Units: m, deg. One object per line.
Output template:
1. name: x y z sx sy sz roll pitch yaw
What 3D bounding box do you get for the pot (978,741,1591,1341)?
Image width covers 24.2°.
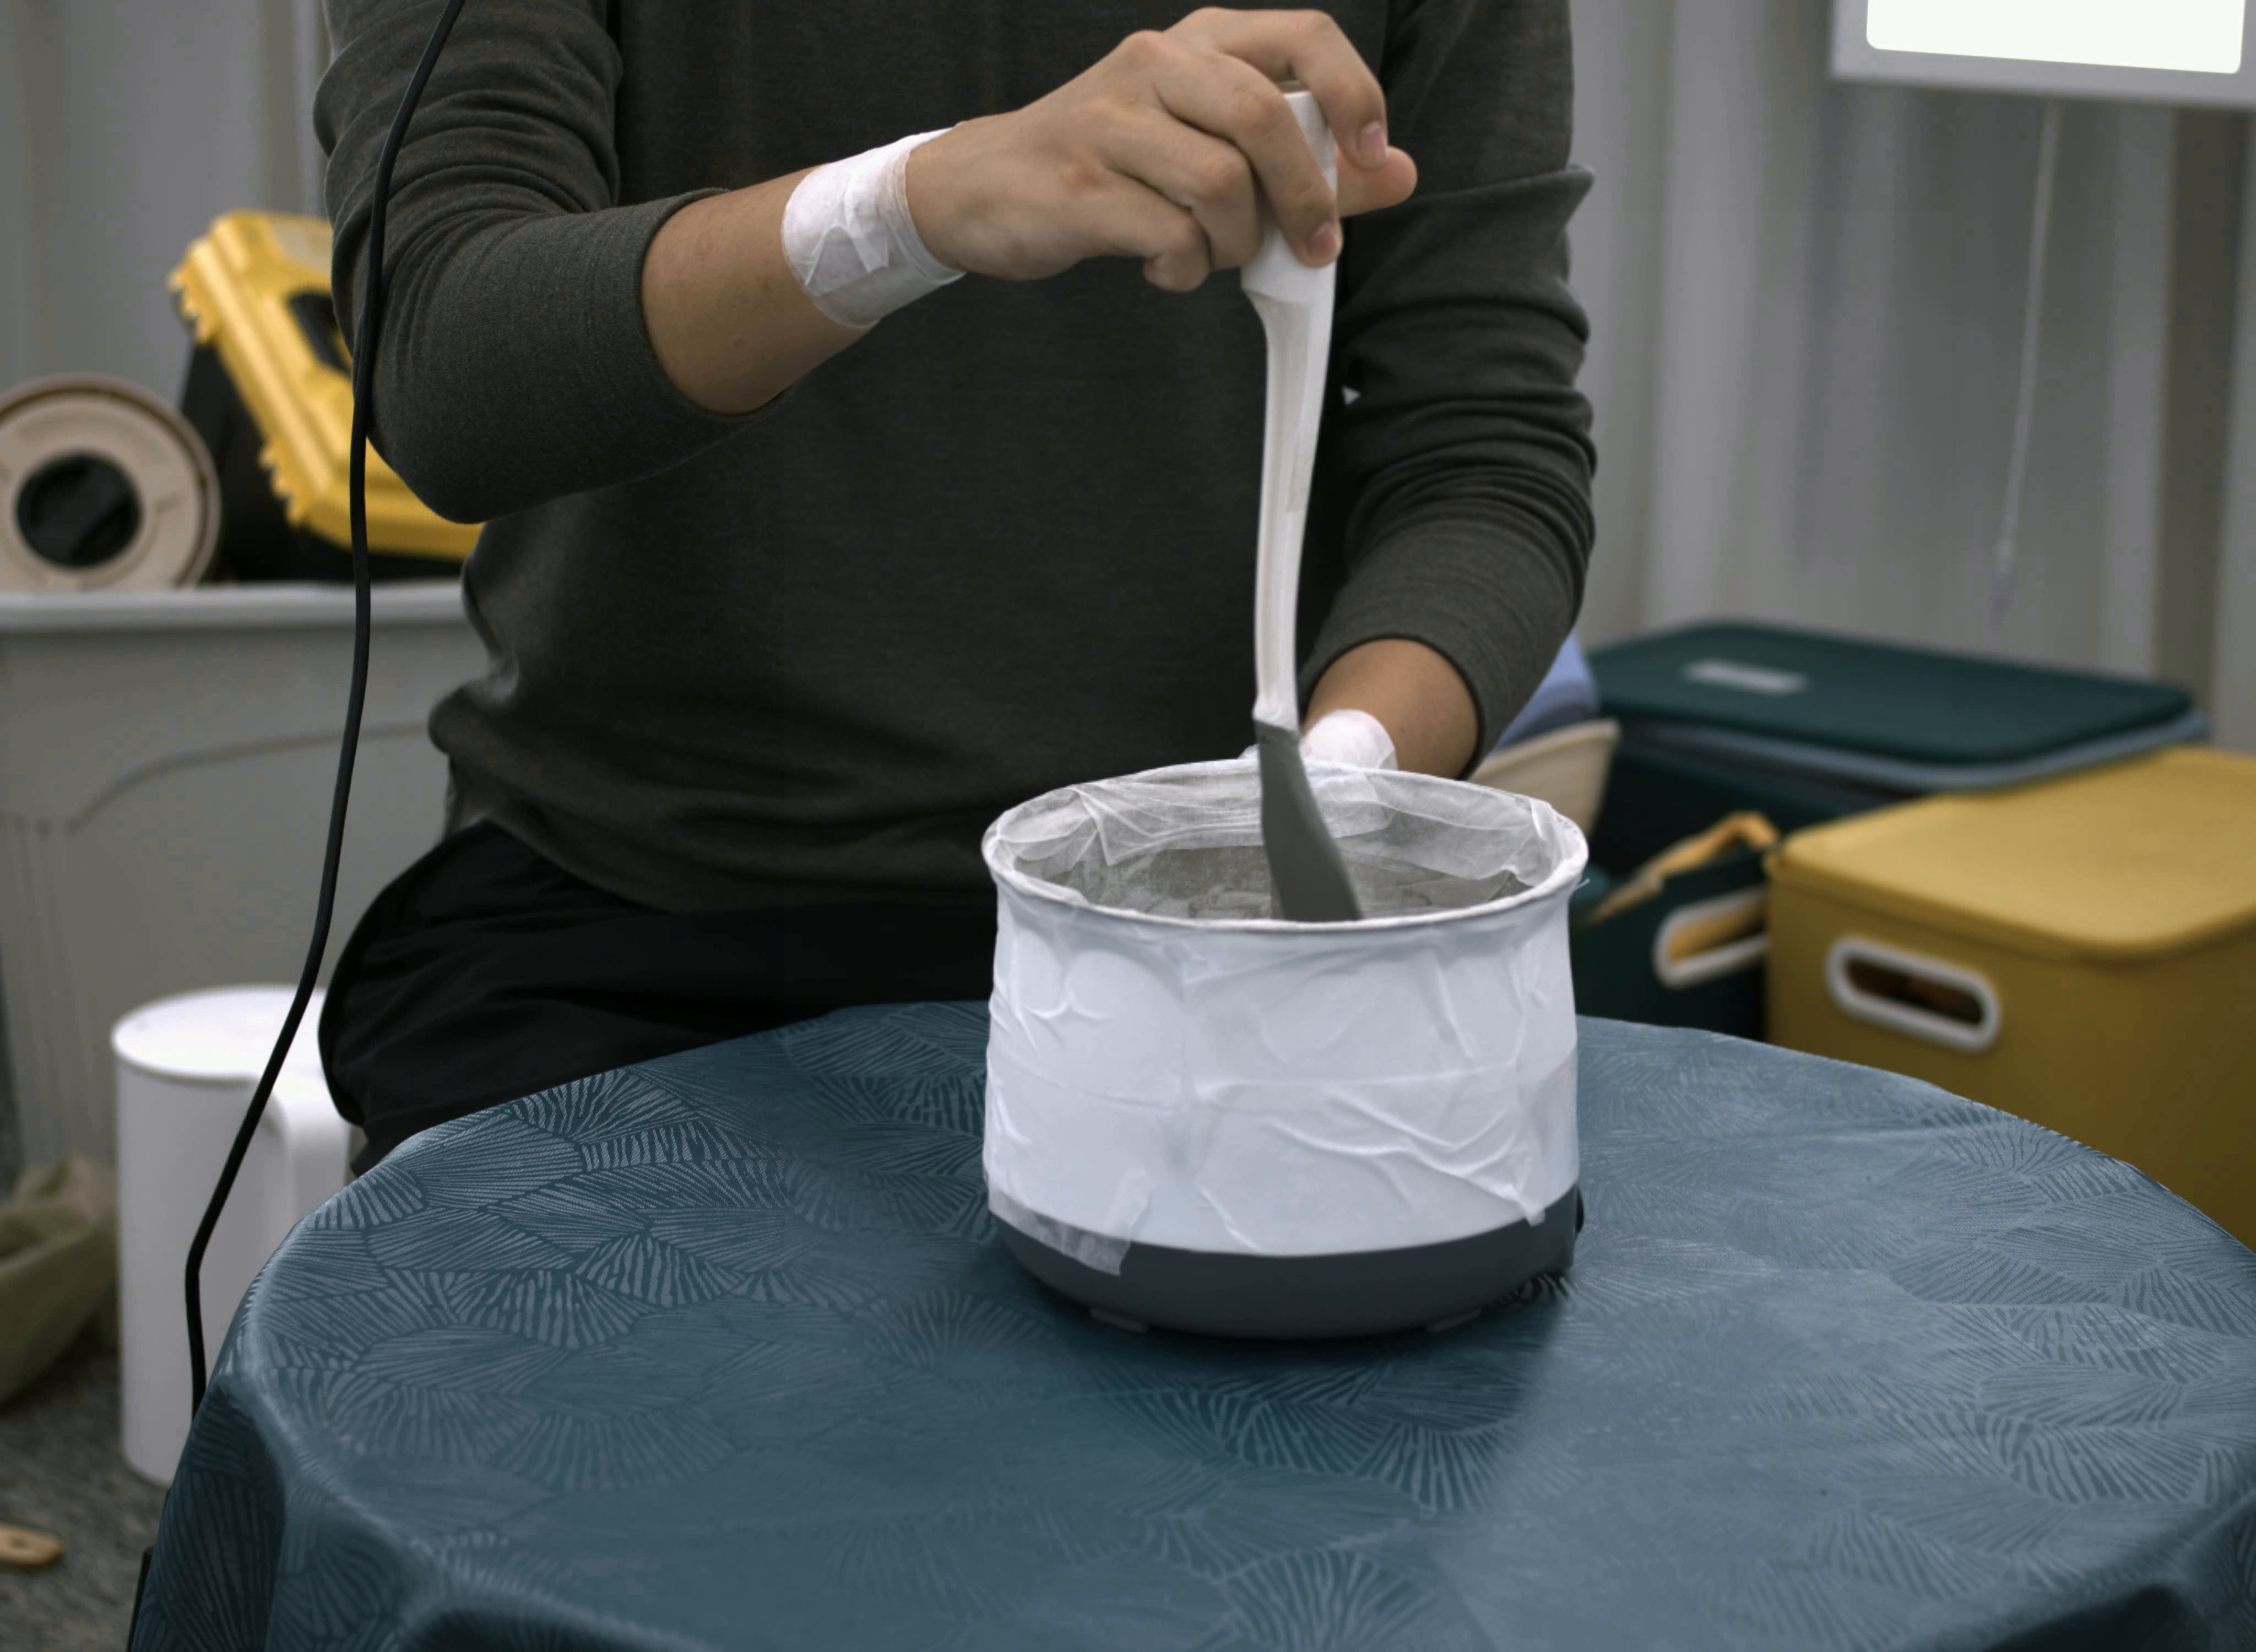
1. pot: 0.044 0.058 1.566 0.178 0.138 0.232 0 15 -3

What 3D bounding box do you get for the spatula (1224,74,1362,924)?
1. spatula: 0.053 -0.069 1.505 0.032 0.290 0.058 -11 16 -24
